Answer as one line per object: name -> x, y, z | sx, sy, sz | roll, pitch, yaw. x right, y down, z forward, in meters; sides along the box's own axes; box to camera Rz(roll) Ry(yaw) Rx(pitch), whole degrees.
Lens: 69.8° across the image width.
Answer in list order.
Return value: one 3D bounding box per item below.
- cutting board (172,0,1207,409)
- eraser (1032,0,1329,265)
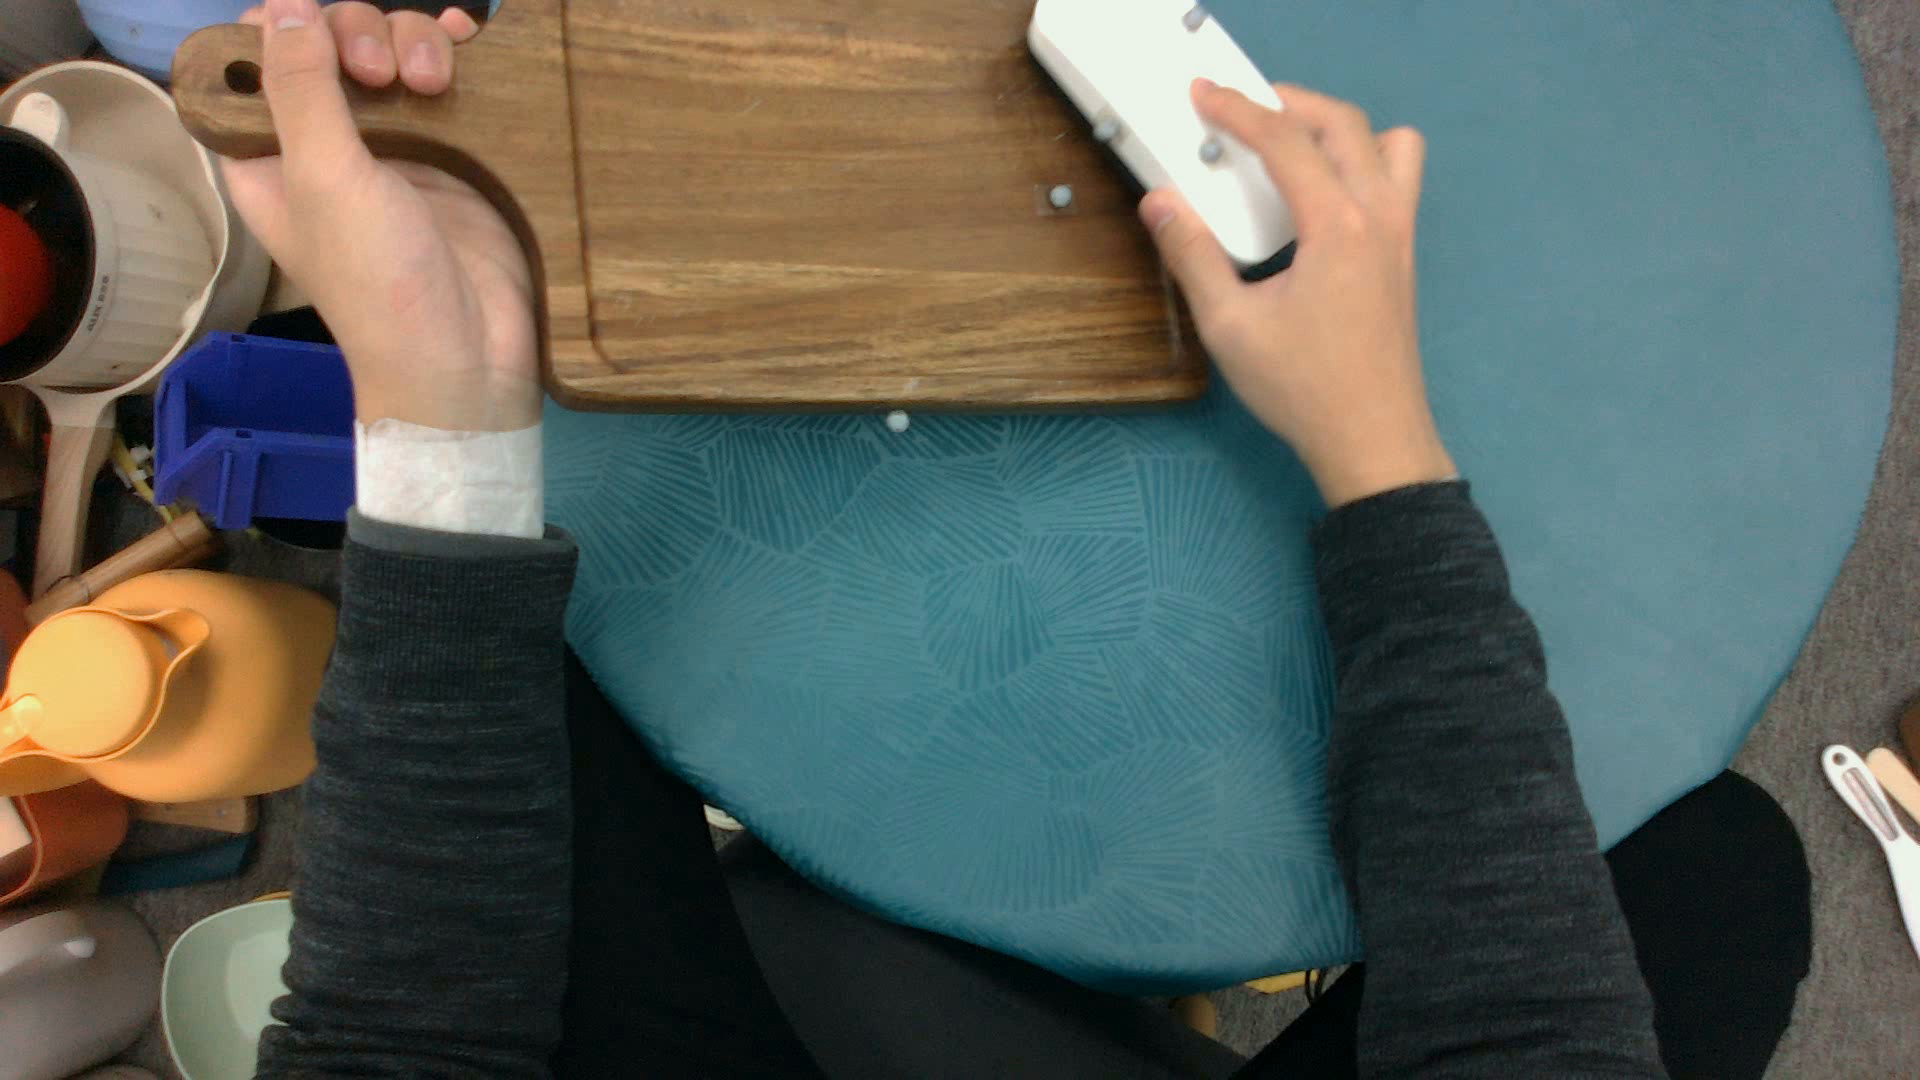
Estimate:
cutting board -> -0.074, -0.145, 0.484 | 0.353, 0.023, 0.201 | -3, 81, -26
eraser -> 0.084, -0.170, 0.534 | 0.063, 0.034, 0.131 | -36, 88, -23
